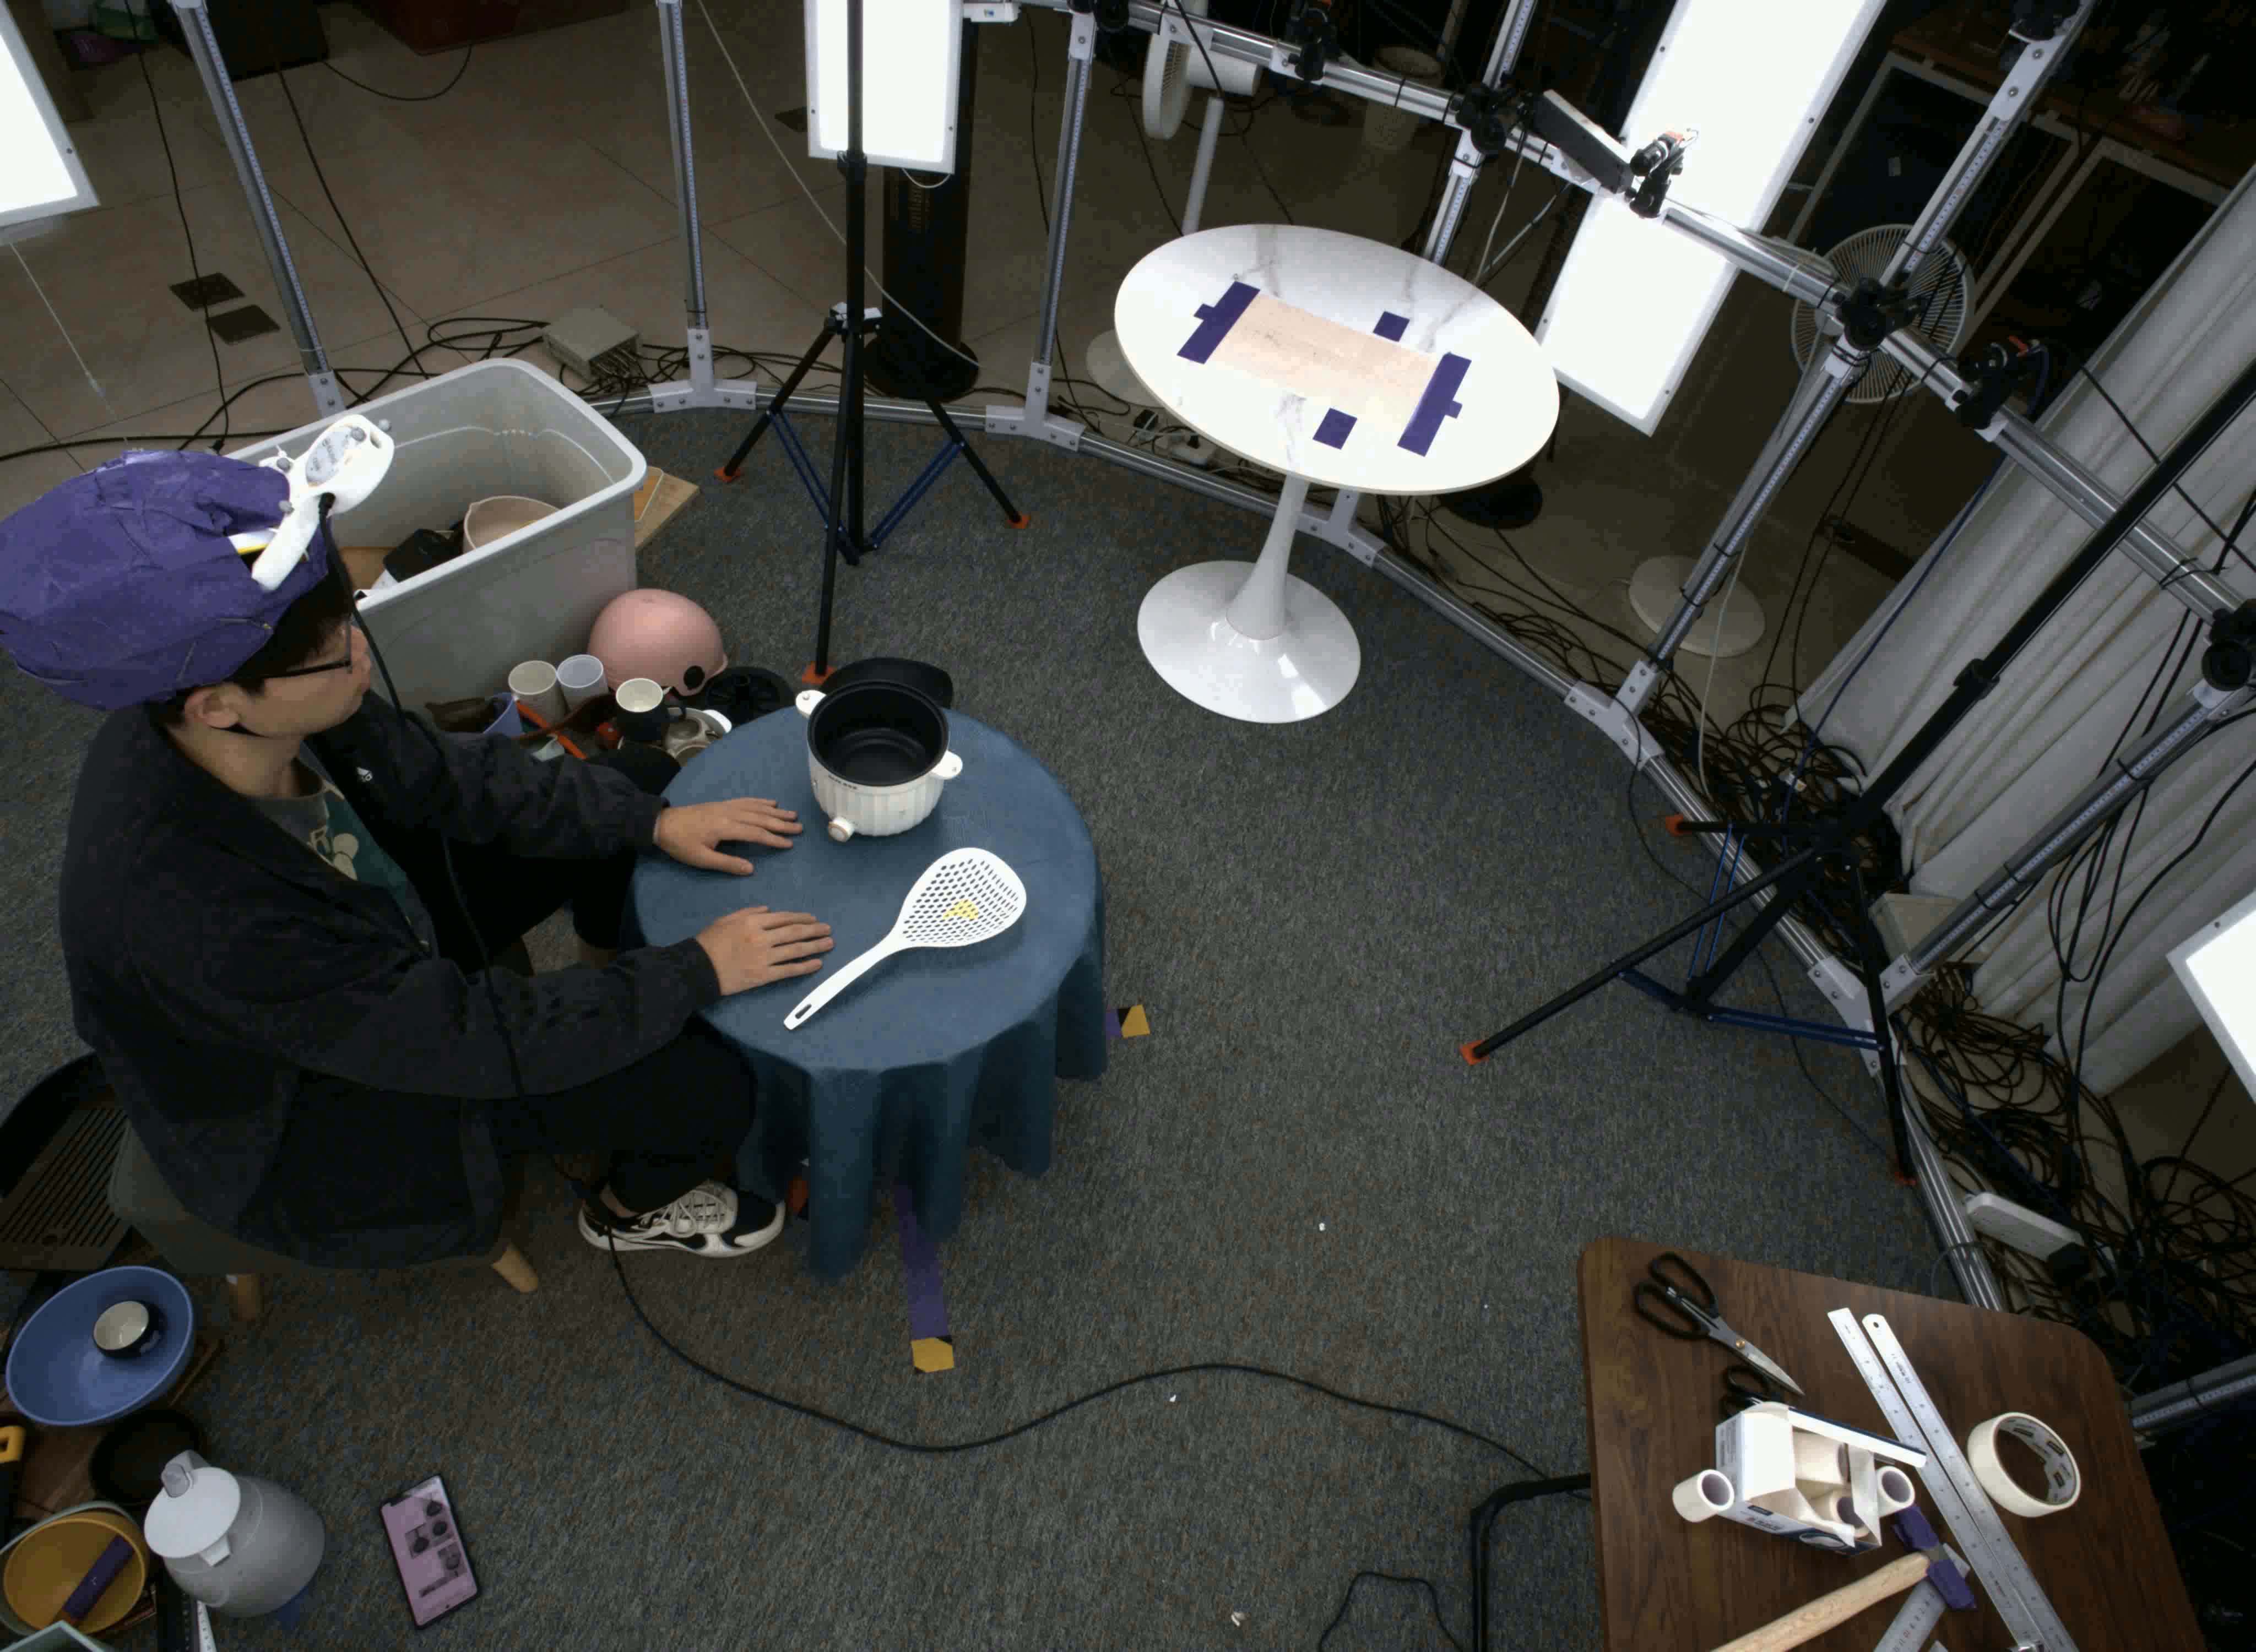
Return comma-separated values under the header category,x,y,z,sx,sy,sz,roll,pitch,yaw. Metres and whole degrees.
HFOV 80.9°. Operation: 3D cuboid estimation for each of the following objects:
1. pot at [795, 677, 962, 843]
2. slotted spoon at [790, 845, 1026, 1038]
category,x,y,z,sx,sy,sz,roll,pitch,yaw
pot,-0.332,-0.080,1.718,0.237,0.146,0.189,23,49,7
slotted spoon,-0.281,0.146,1.625,0.349,0.051,0.134,-34,69,-32
